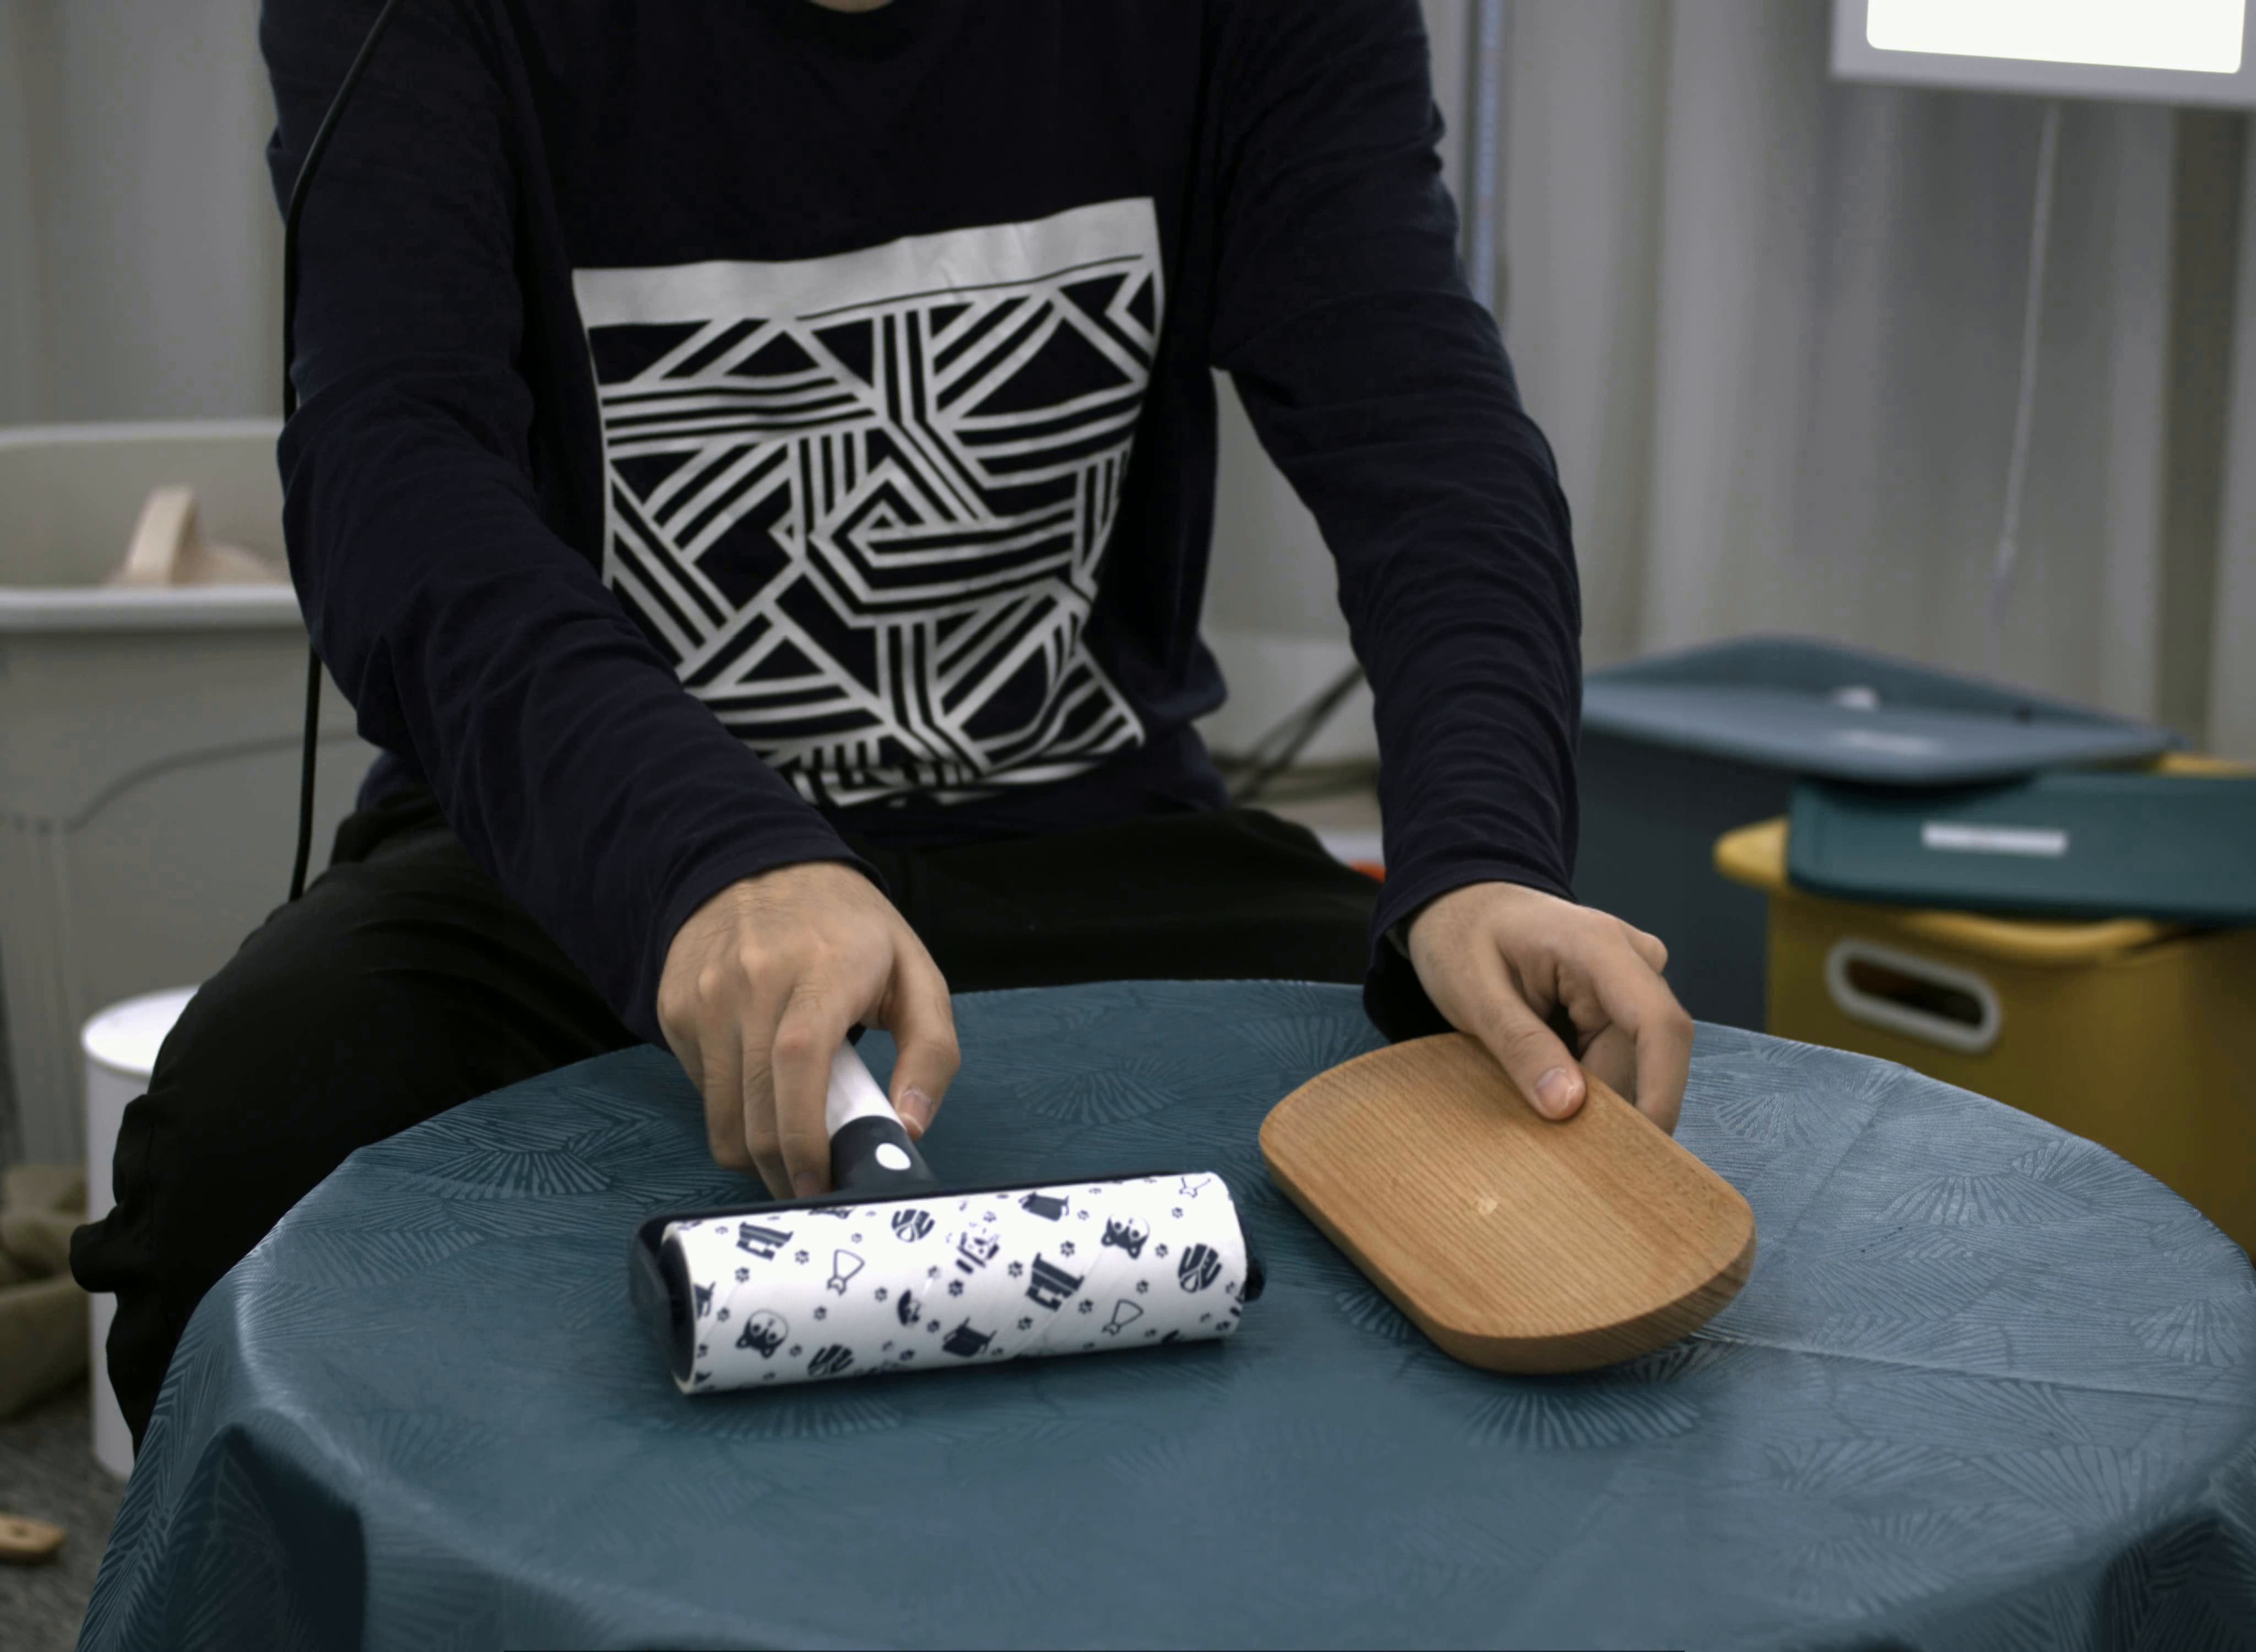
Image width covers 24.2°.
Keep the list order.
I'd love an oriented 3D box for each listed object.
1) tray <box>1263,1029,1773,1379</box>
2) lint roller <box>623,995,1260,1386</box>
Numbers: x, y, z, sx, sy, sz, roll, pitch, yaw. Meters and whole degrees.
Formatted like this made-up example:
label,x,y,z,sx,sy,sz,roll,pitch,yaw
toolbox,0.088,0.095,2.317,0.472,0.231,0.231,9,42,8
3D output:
label,x,y,z,sx,sy,sz,roll,pitch,yaw
tray,0.113,0.110,1.561,0.101,0.020,0.228,-22,23,-13
lint roller,-0.081,0.094,1.566,0.176,0.051,0.244,-5,21,-18
